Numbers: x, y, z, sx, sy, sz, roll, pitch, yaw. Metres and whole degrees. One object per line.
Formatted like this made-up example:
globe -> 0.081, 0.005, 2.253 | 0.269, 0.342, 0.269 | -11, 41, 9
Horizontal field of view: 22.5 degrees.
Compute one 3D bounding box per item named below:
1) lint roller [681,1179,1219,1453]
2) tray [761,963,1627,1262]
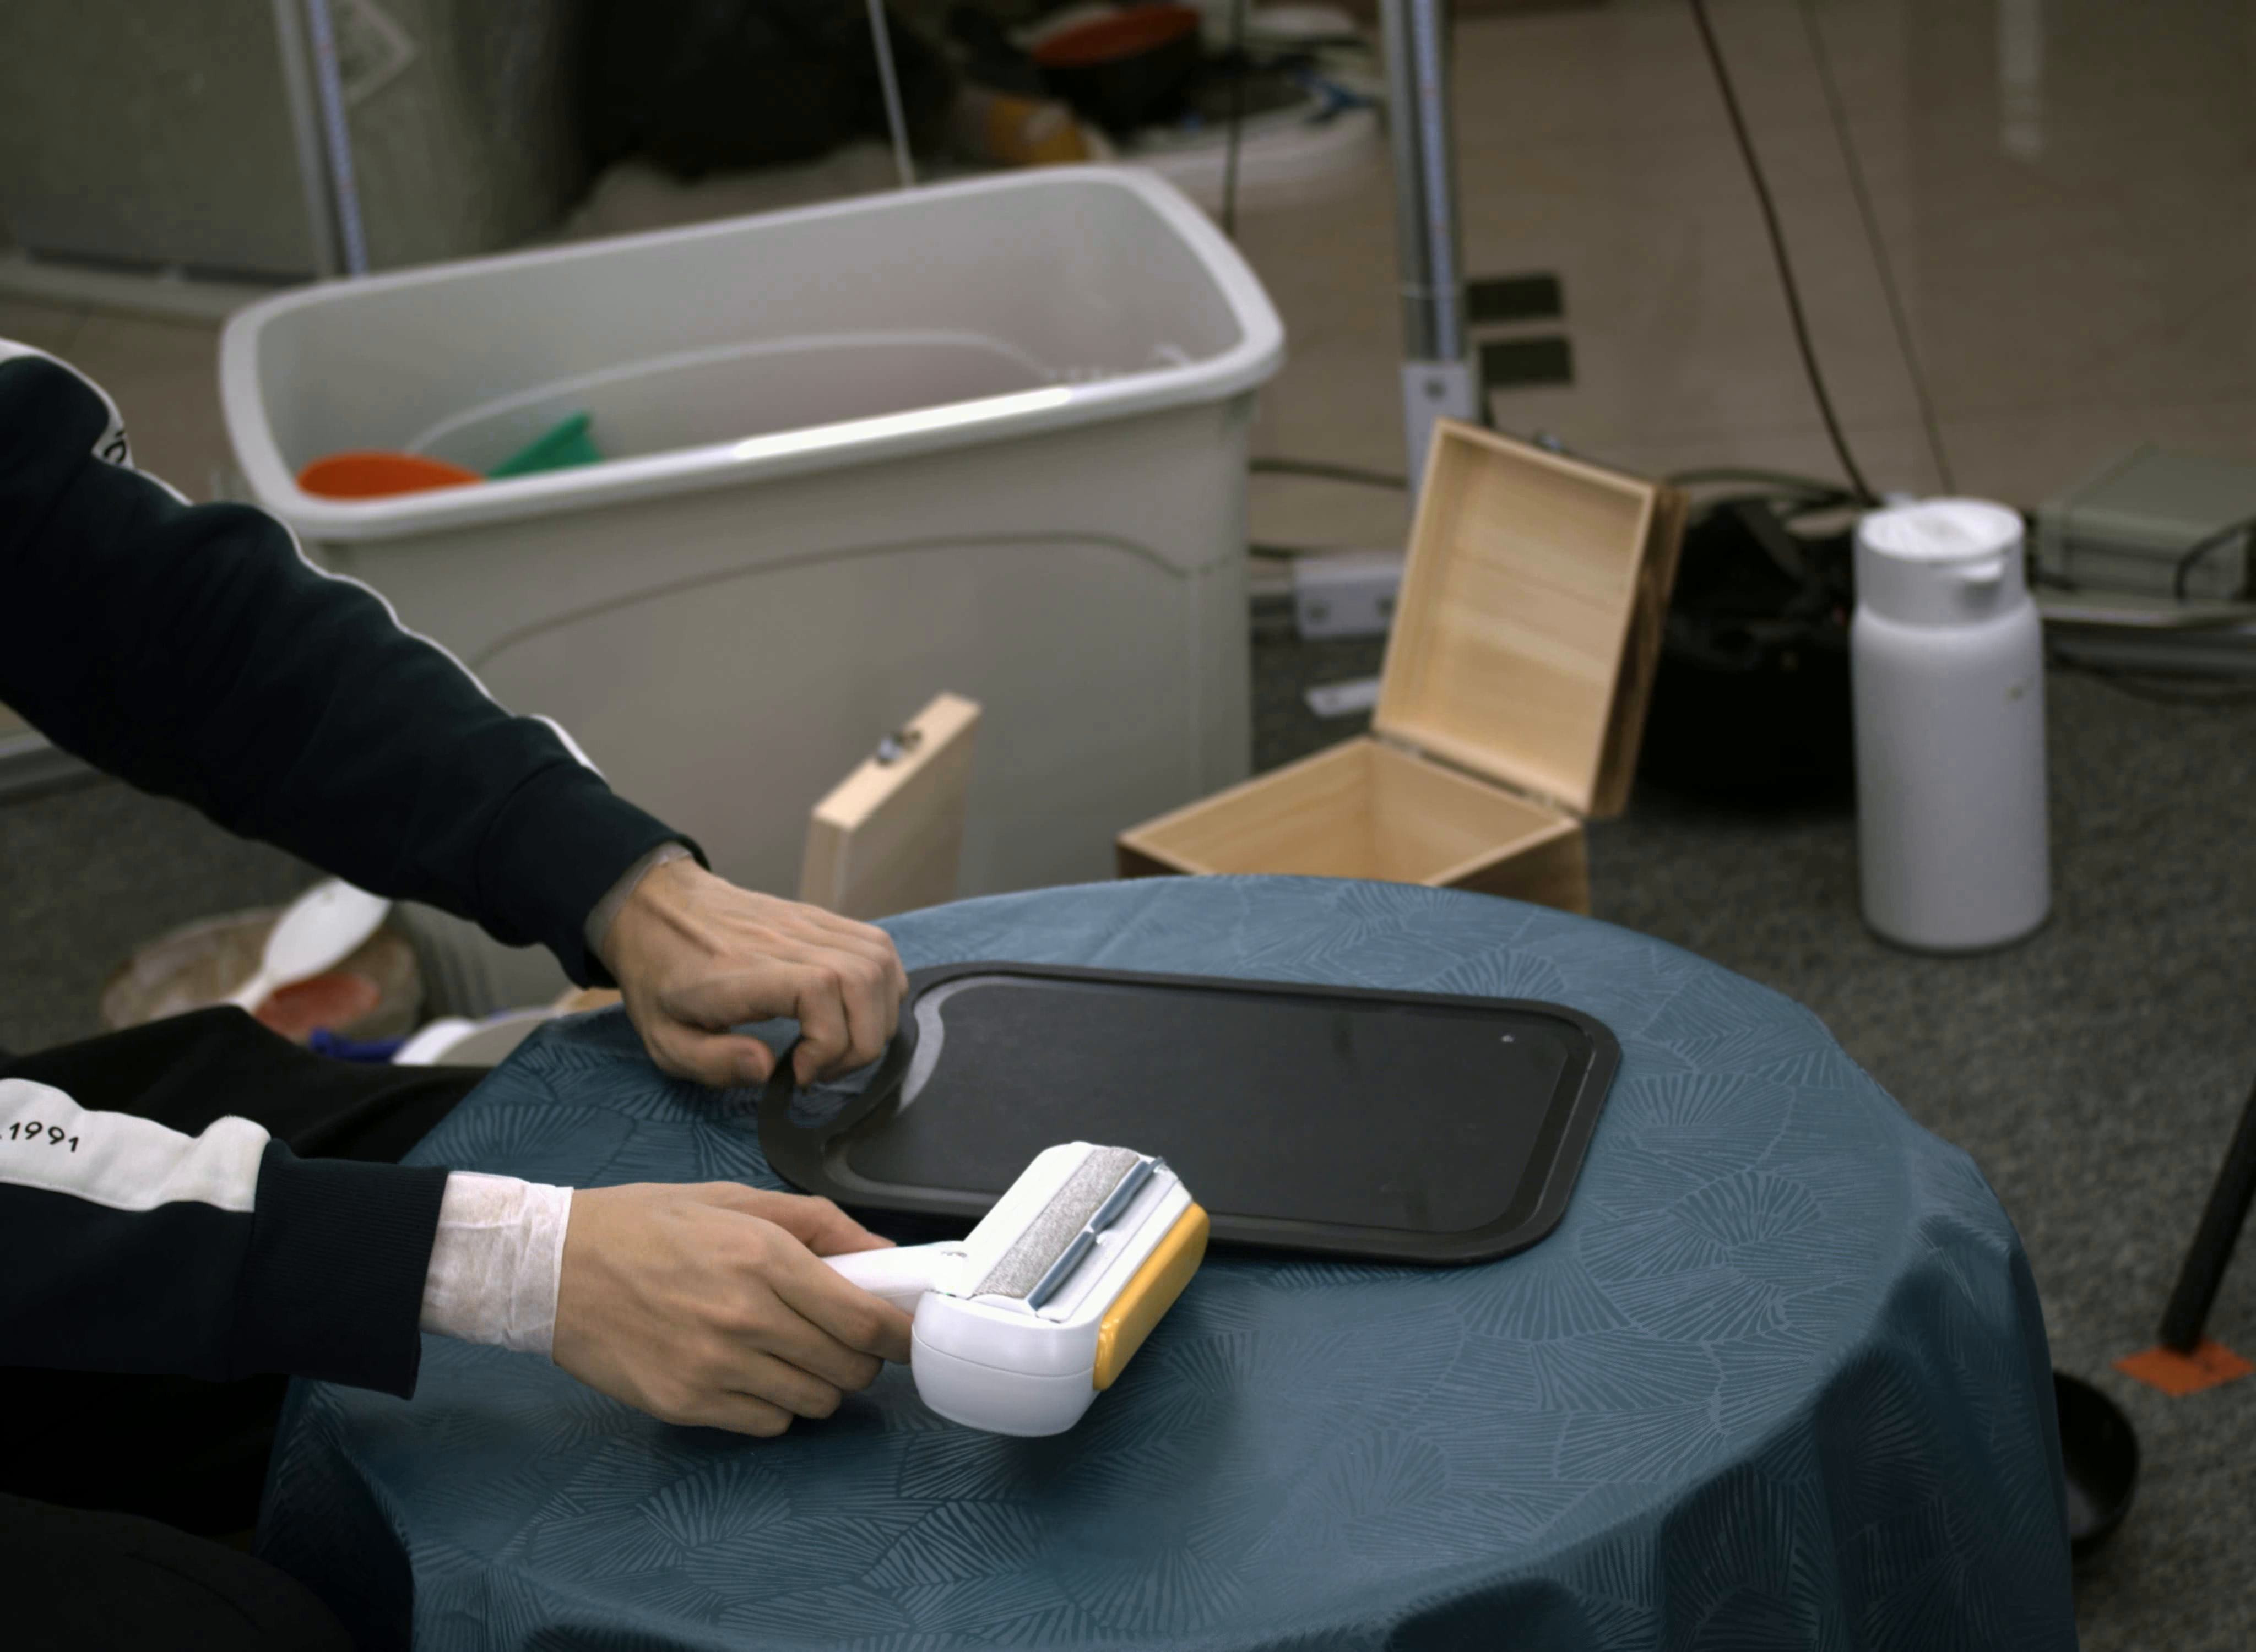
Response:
lint roller -> -0.078, 0.184, 2.023 | 0.192, 0.075, 0.191 | -8, 14, 24
tray -> 0.021, 0.106, 2.181 | 0.324, 0.010, 0.208 | 4, 26, 14
